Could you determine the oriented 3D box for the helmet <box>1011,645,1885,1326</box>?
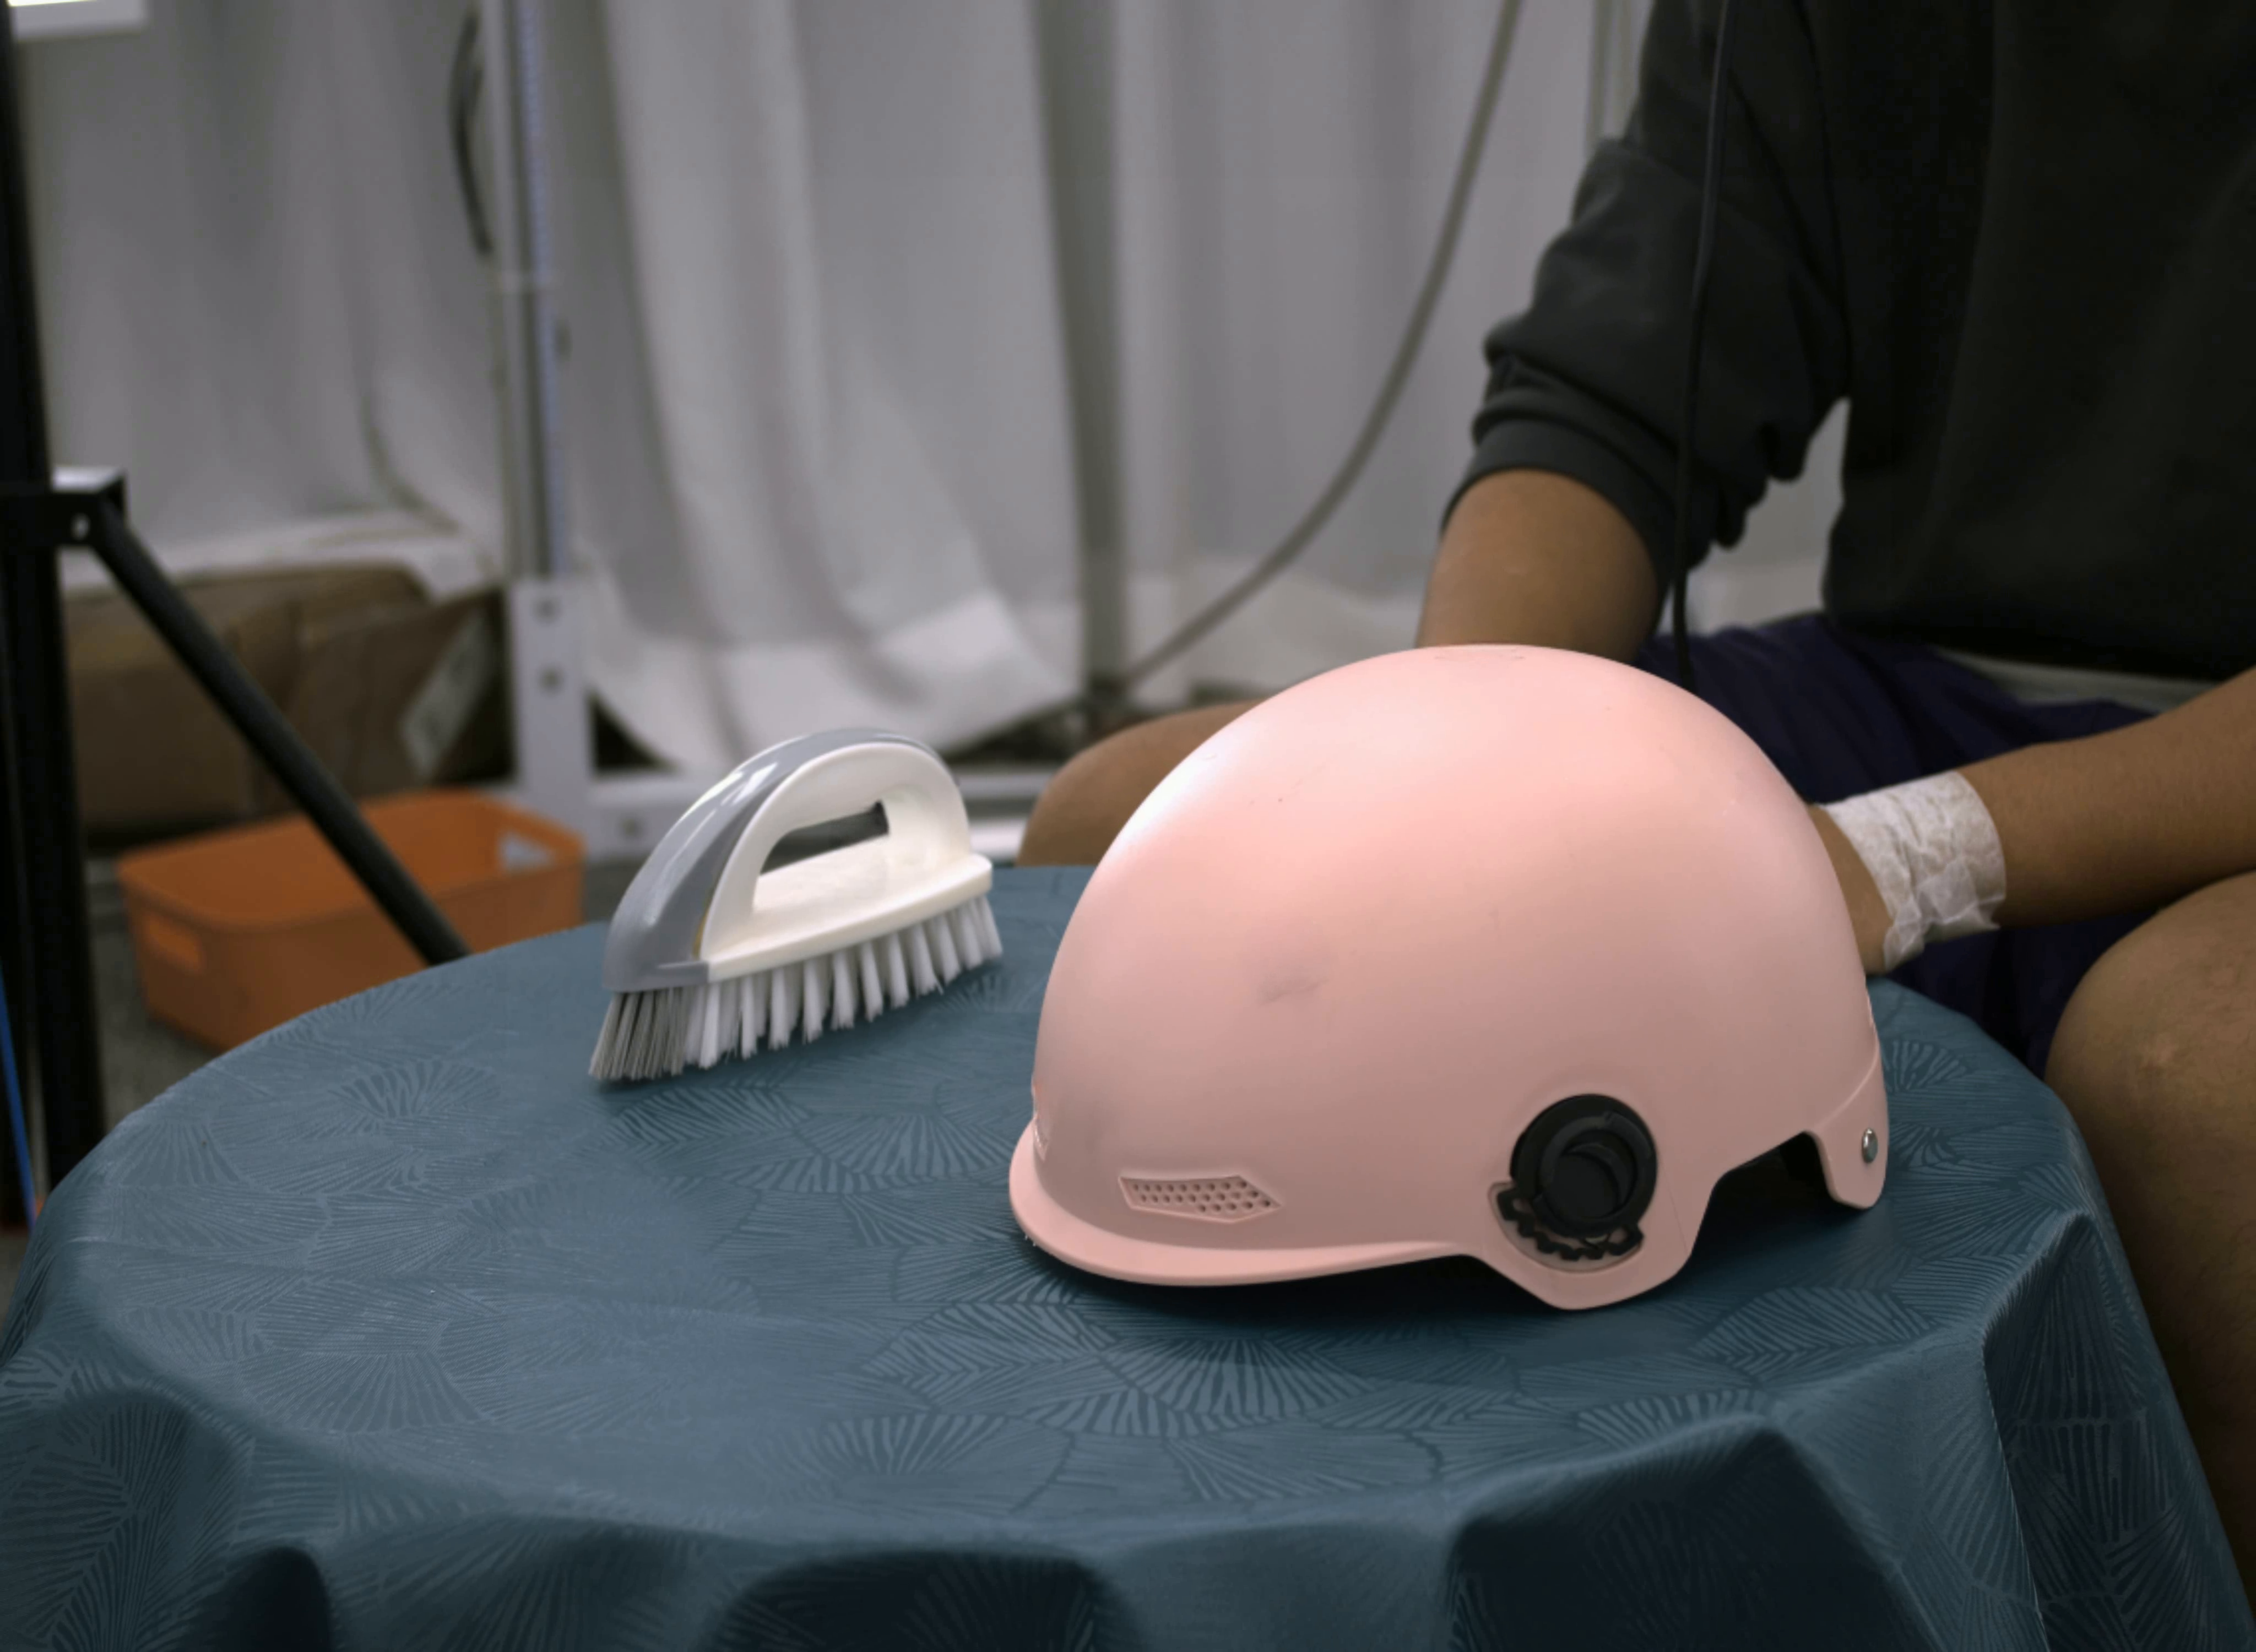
[{"bbox_3d":[0.088,0.035,1.530,0.260,0.158,0.239,-15,20,-27],"label":"helmet"}]

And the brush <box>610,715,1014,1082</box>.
[{"bbox_3d":[-0.110,0.019,1.726,0.063,0.094,0.172,8,20,38],"label":"brush"}]
